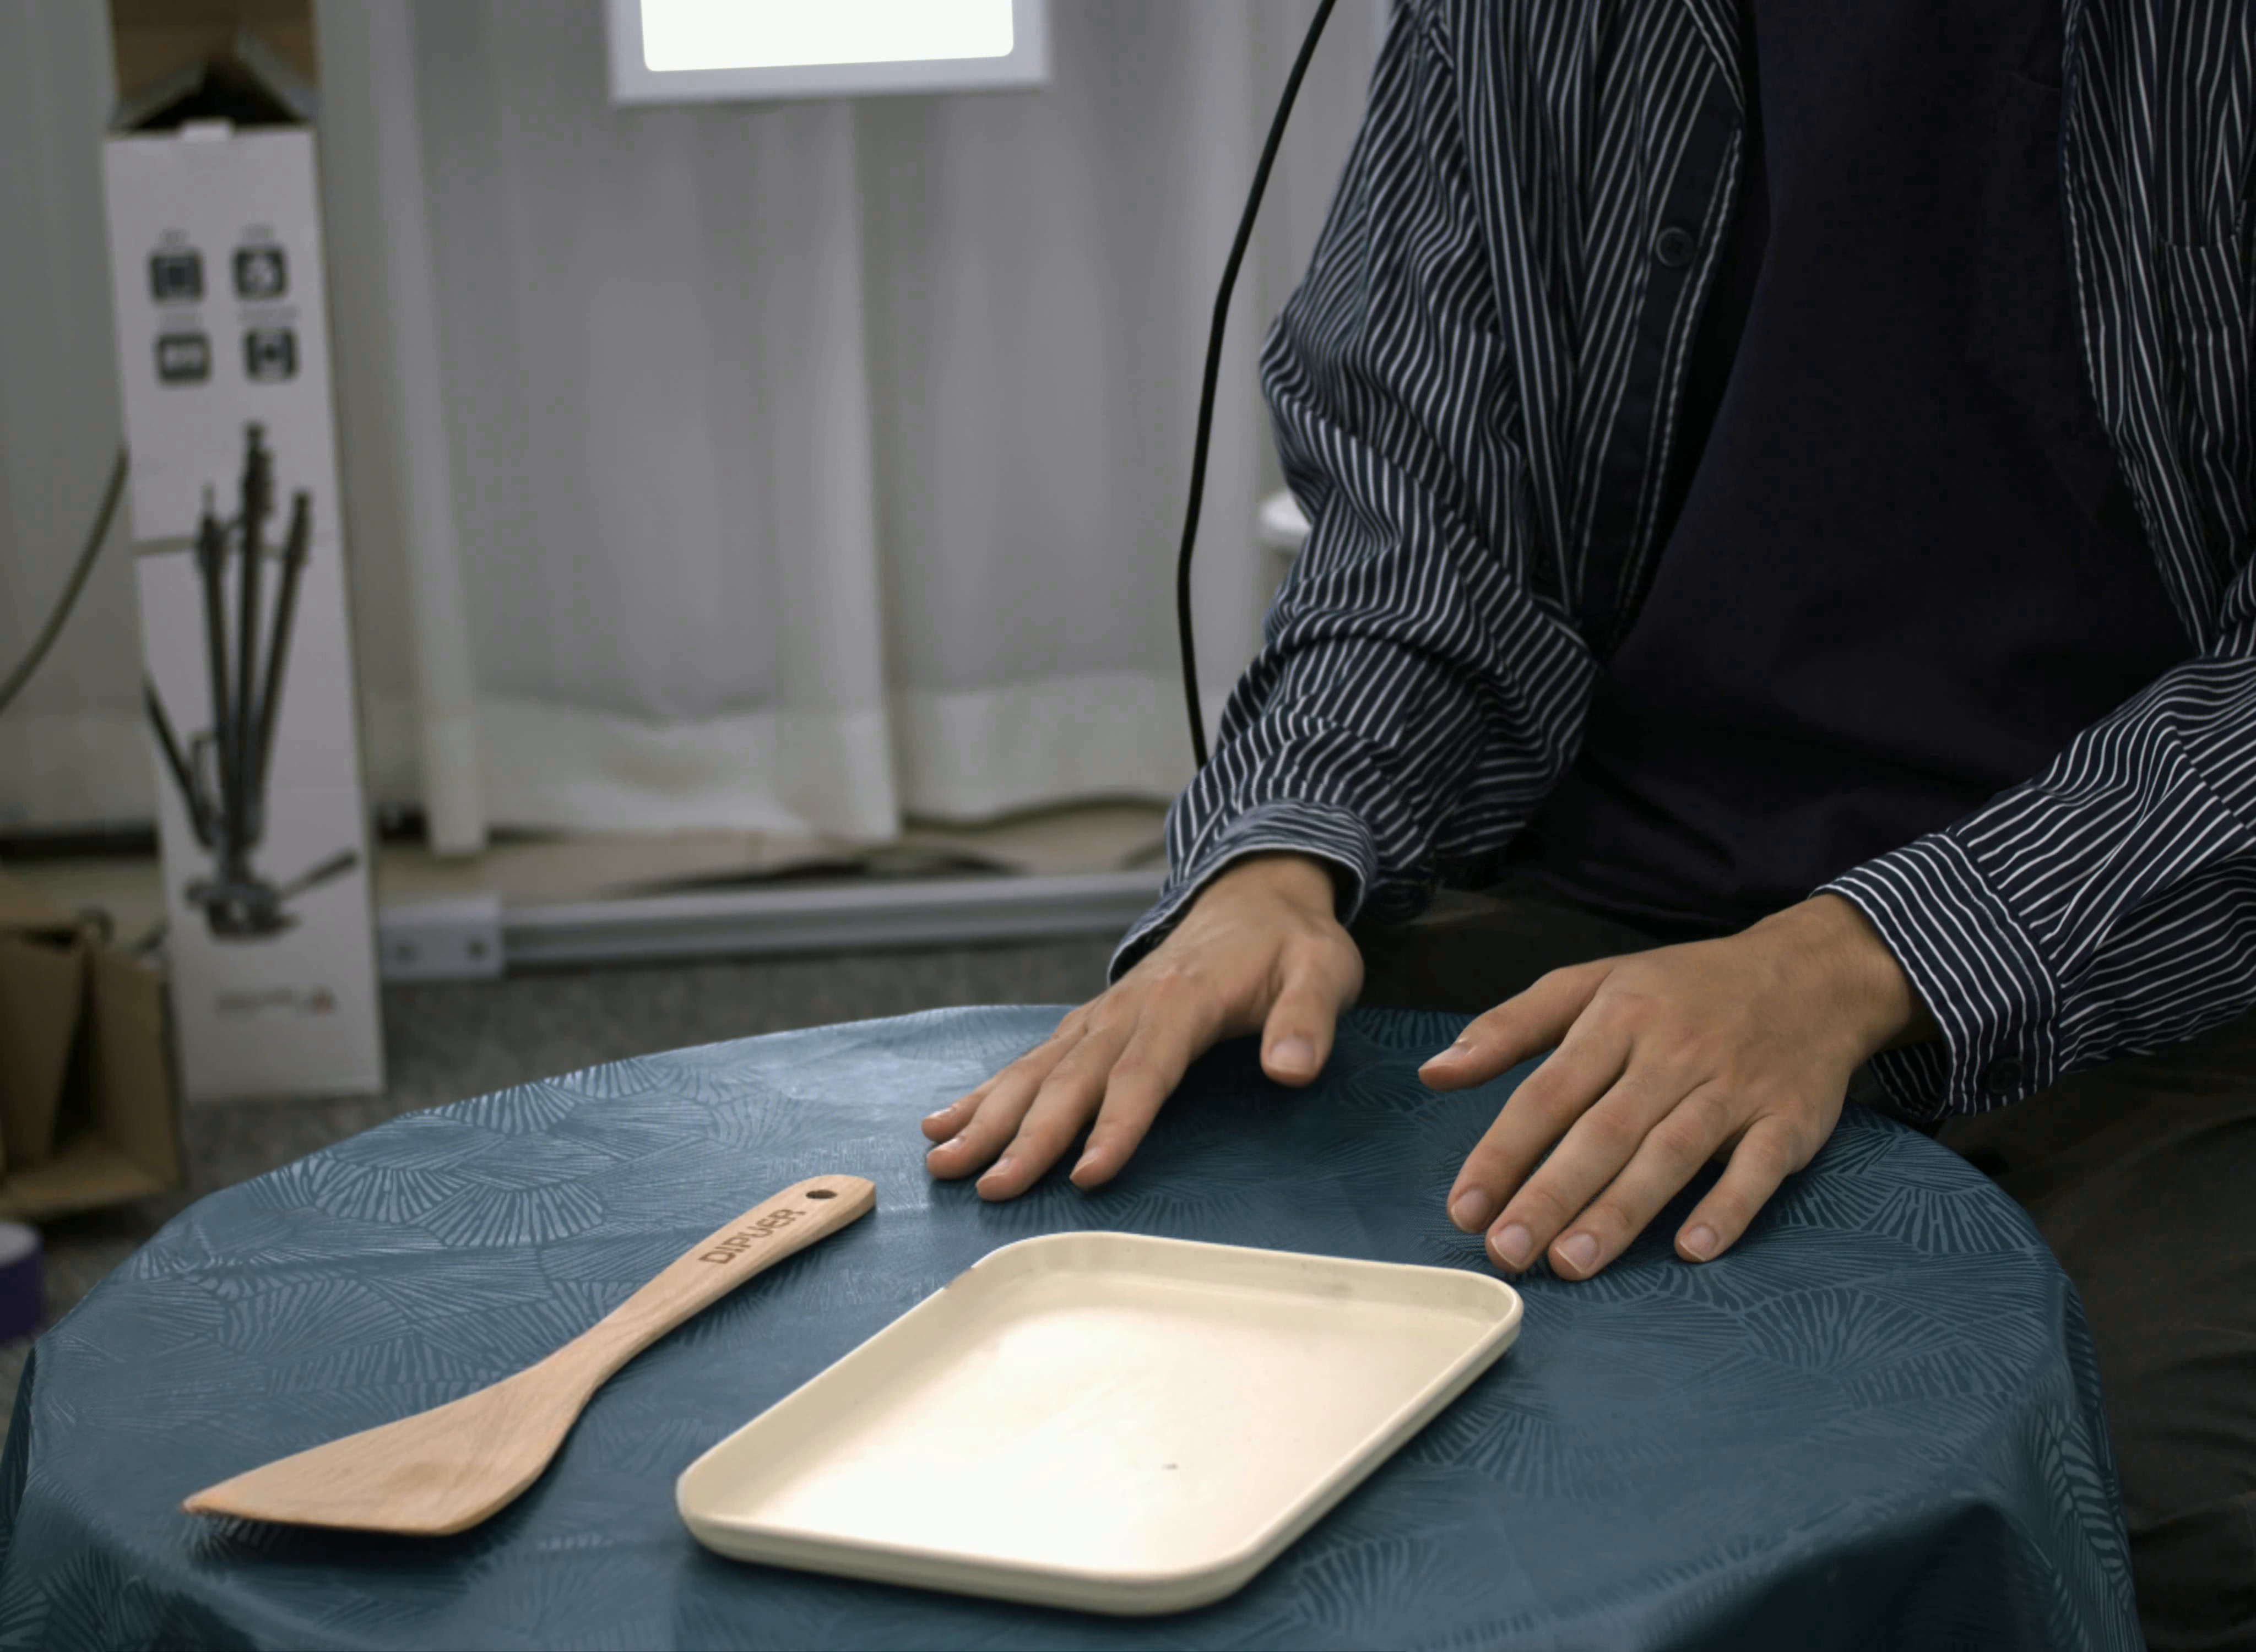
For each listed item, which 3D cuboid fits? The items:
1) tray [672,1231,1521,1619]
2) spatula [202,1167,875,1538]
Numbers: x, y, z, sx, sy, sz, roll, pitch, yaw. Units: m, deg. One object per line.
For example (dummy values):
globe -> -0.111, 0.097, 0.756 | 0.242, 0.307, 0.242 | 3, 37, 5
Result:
tray -> -0.004, 0.163, 1.503 | 0.171, 0.017, 0.240 | 5, 17, 26
spatula -> -0.150, 0.149, 1.585 | 0.080, 0.016, 0.328 | 4, 17, 23
